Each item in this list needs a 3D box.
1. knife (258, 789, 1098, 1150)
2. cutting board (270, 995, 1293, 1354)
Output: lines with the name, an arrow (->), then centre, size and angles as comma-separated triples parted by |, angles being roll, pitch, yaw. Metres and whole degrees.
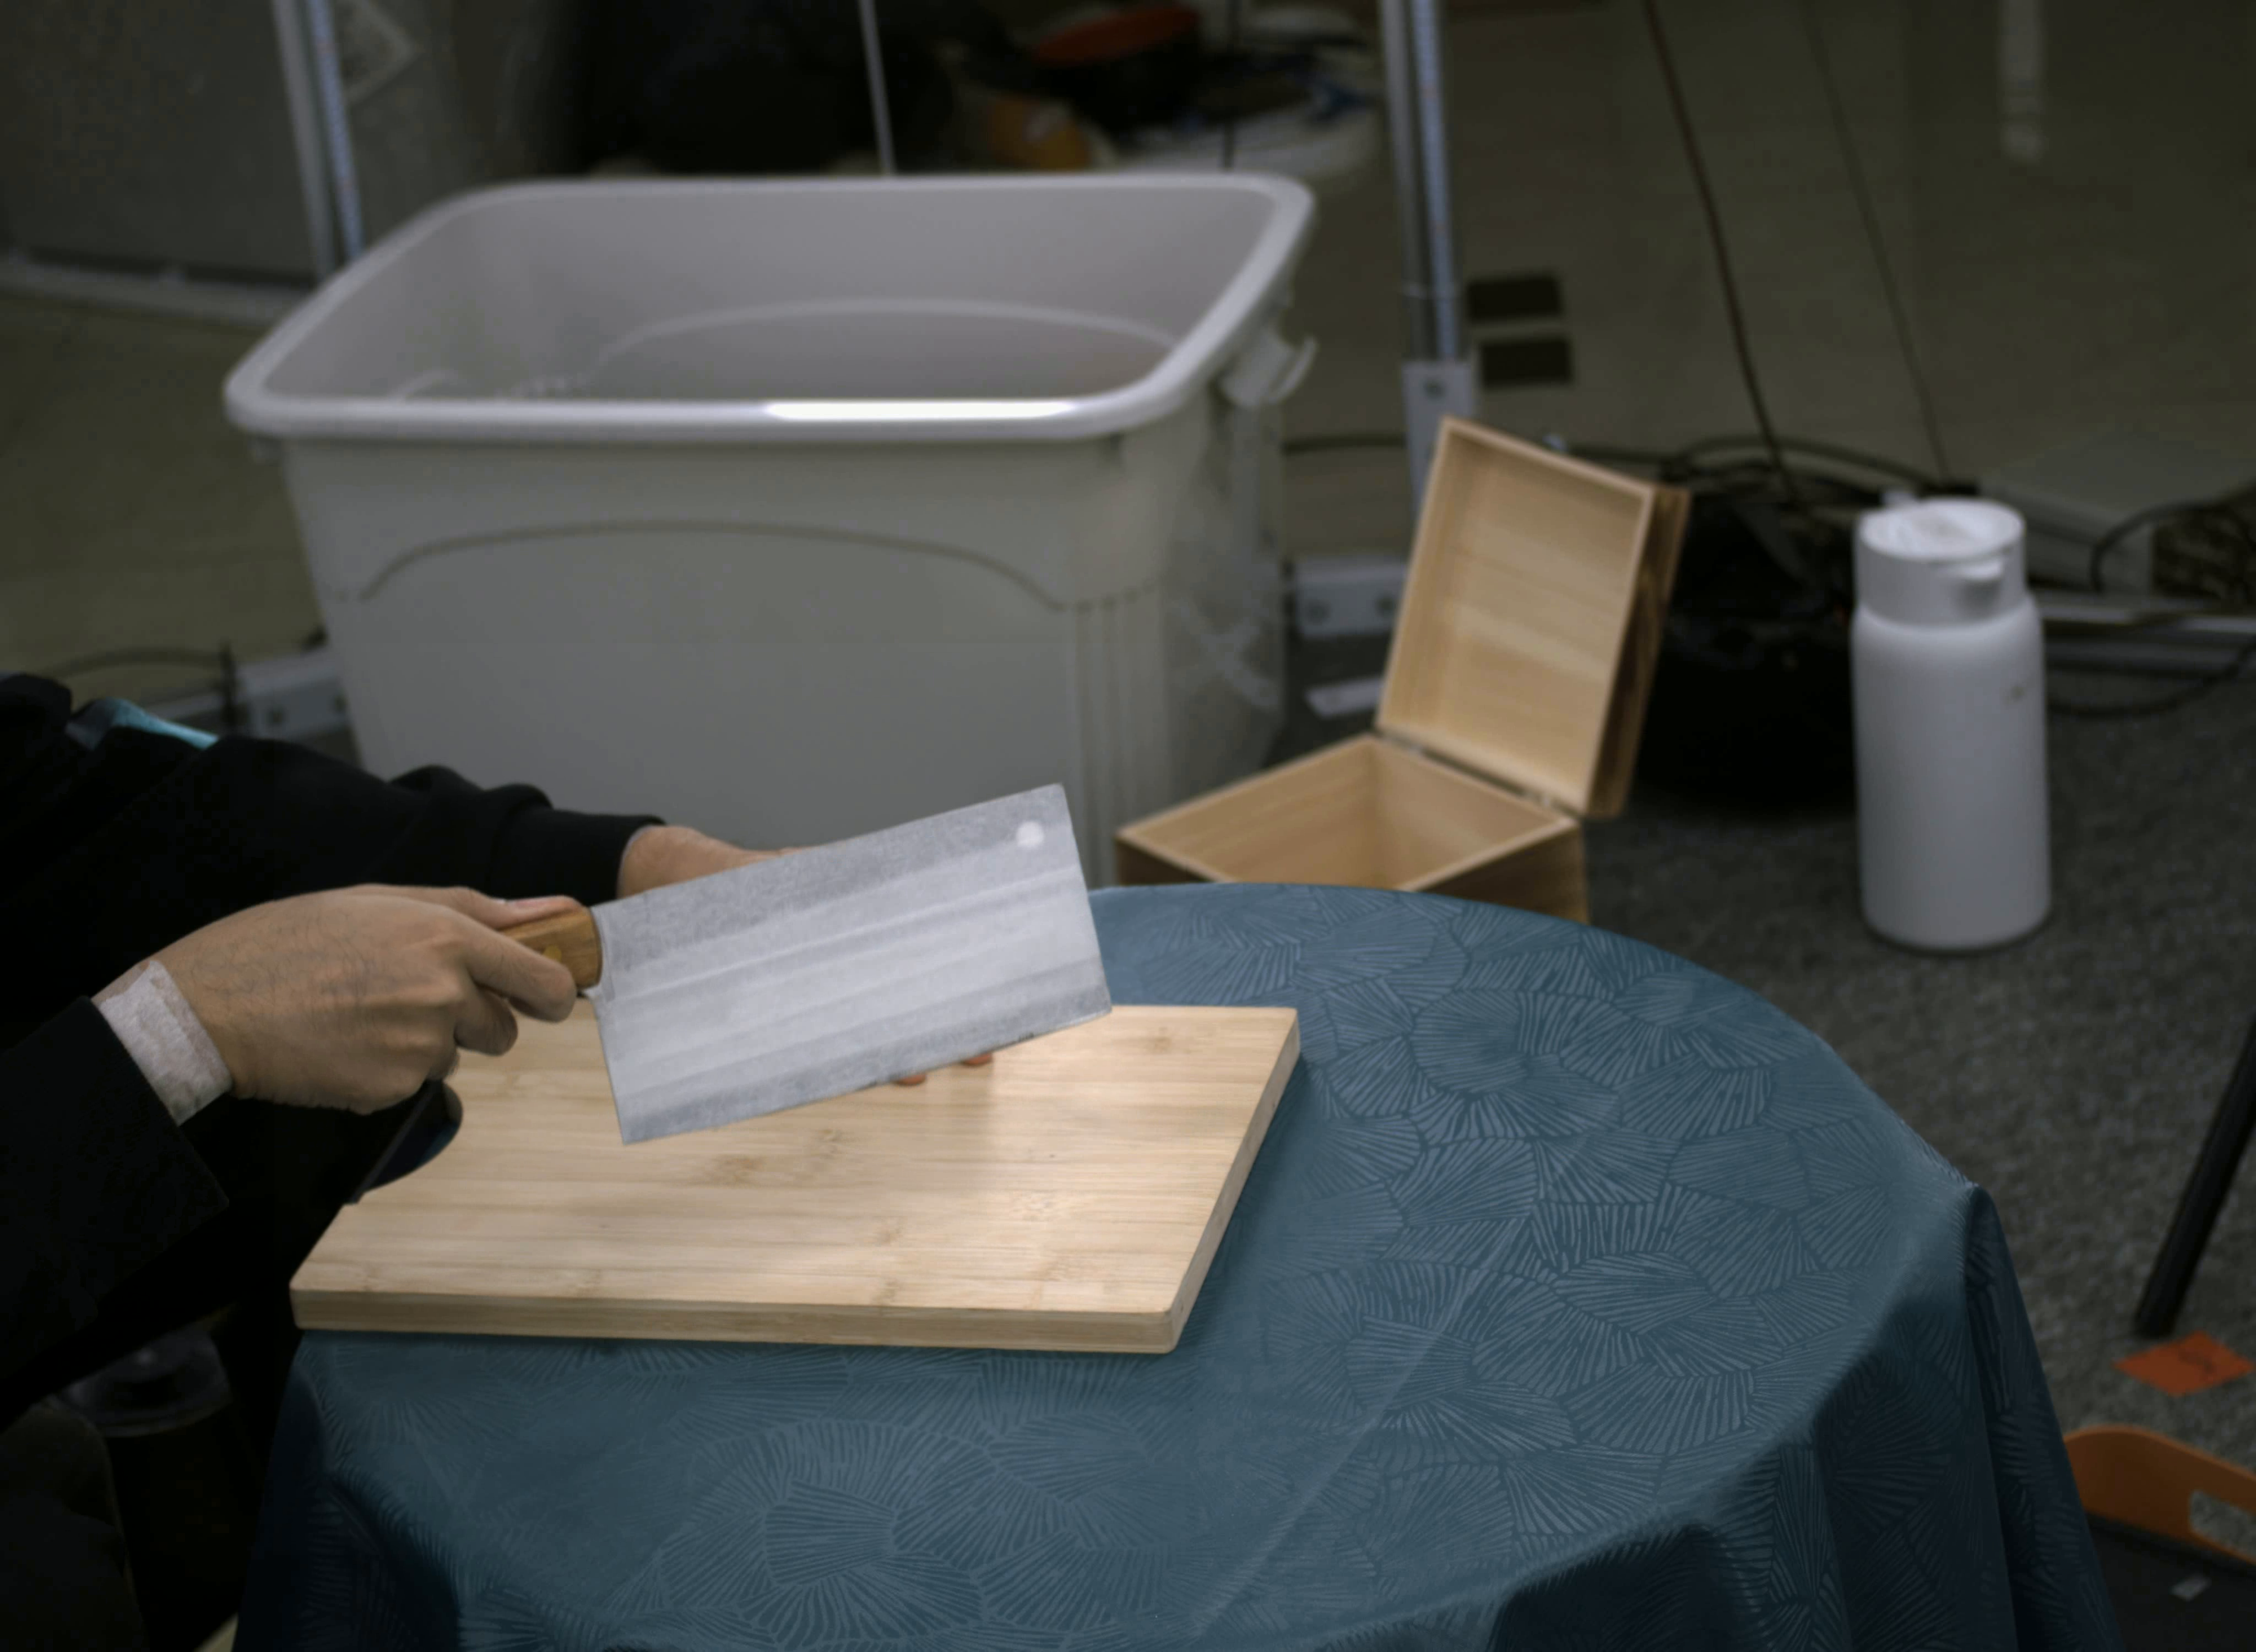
knife -> -0.158, 0.065, 2.054 | 0.305, 0.094, 0.021 | -15, 13, -13
cutting board -> -0.127, 0.130, 2.178 | 0.348, 0.024, 0.247 | 0, 26, 13
